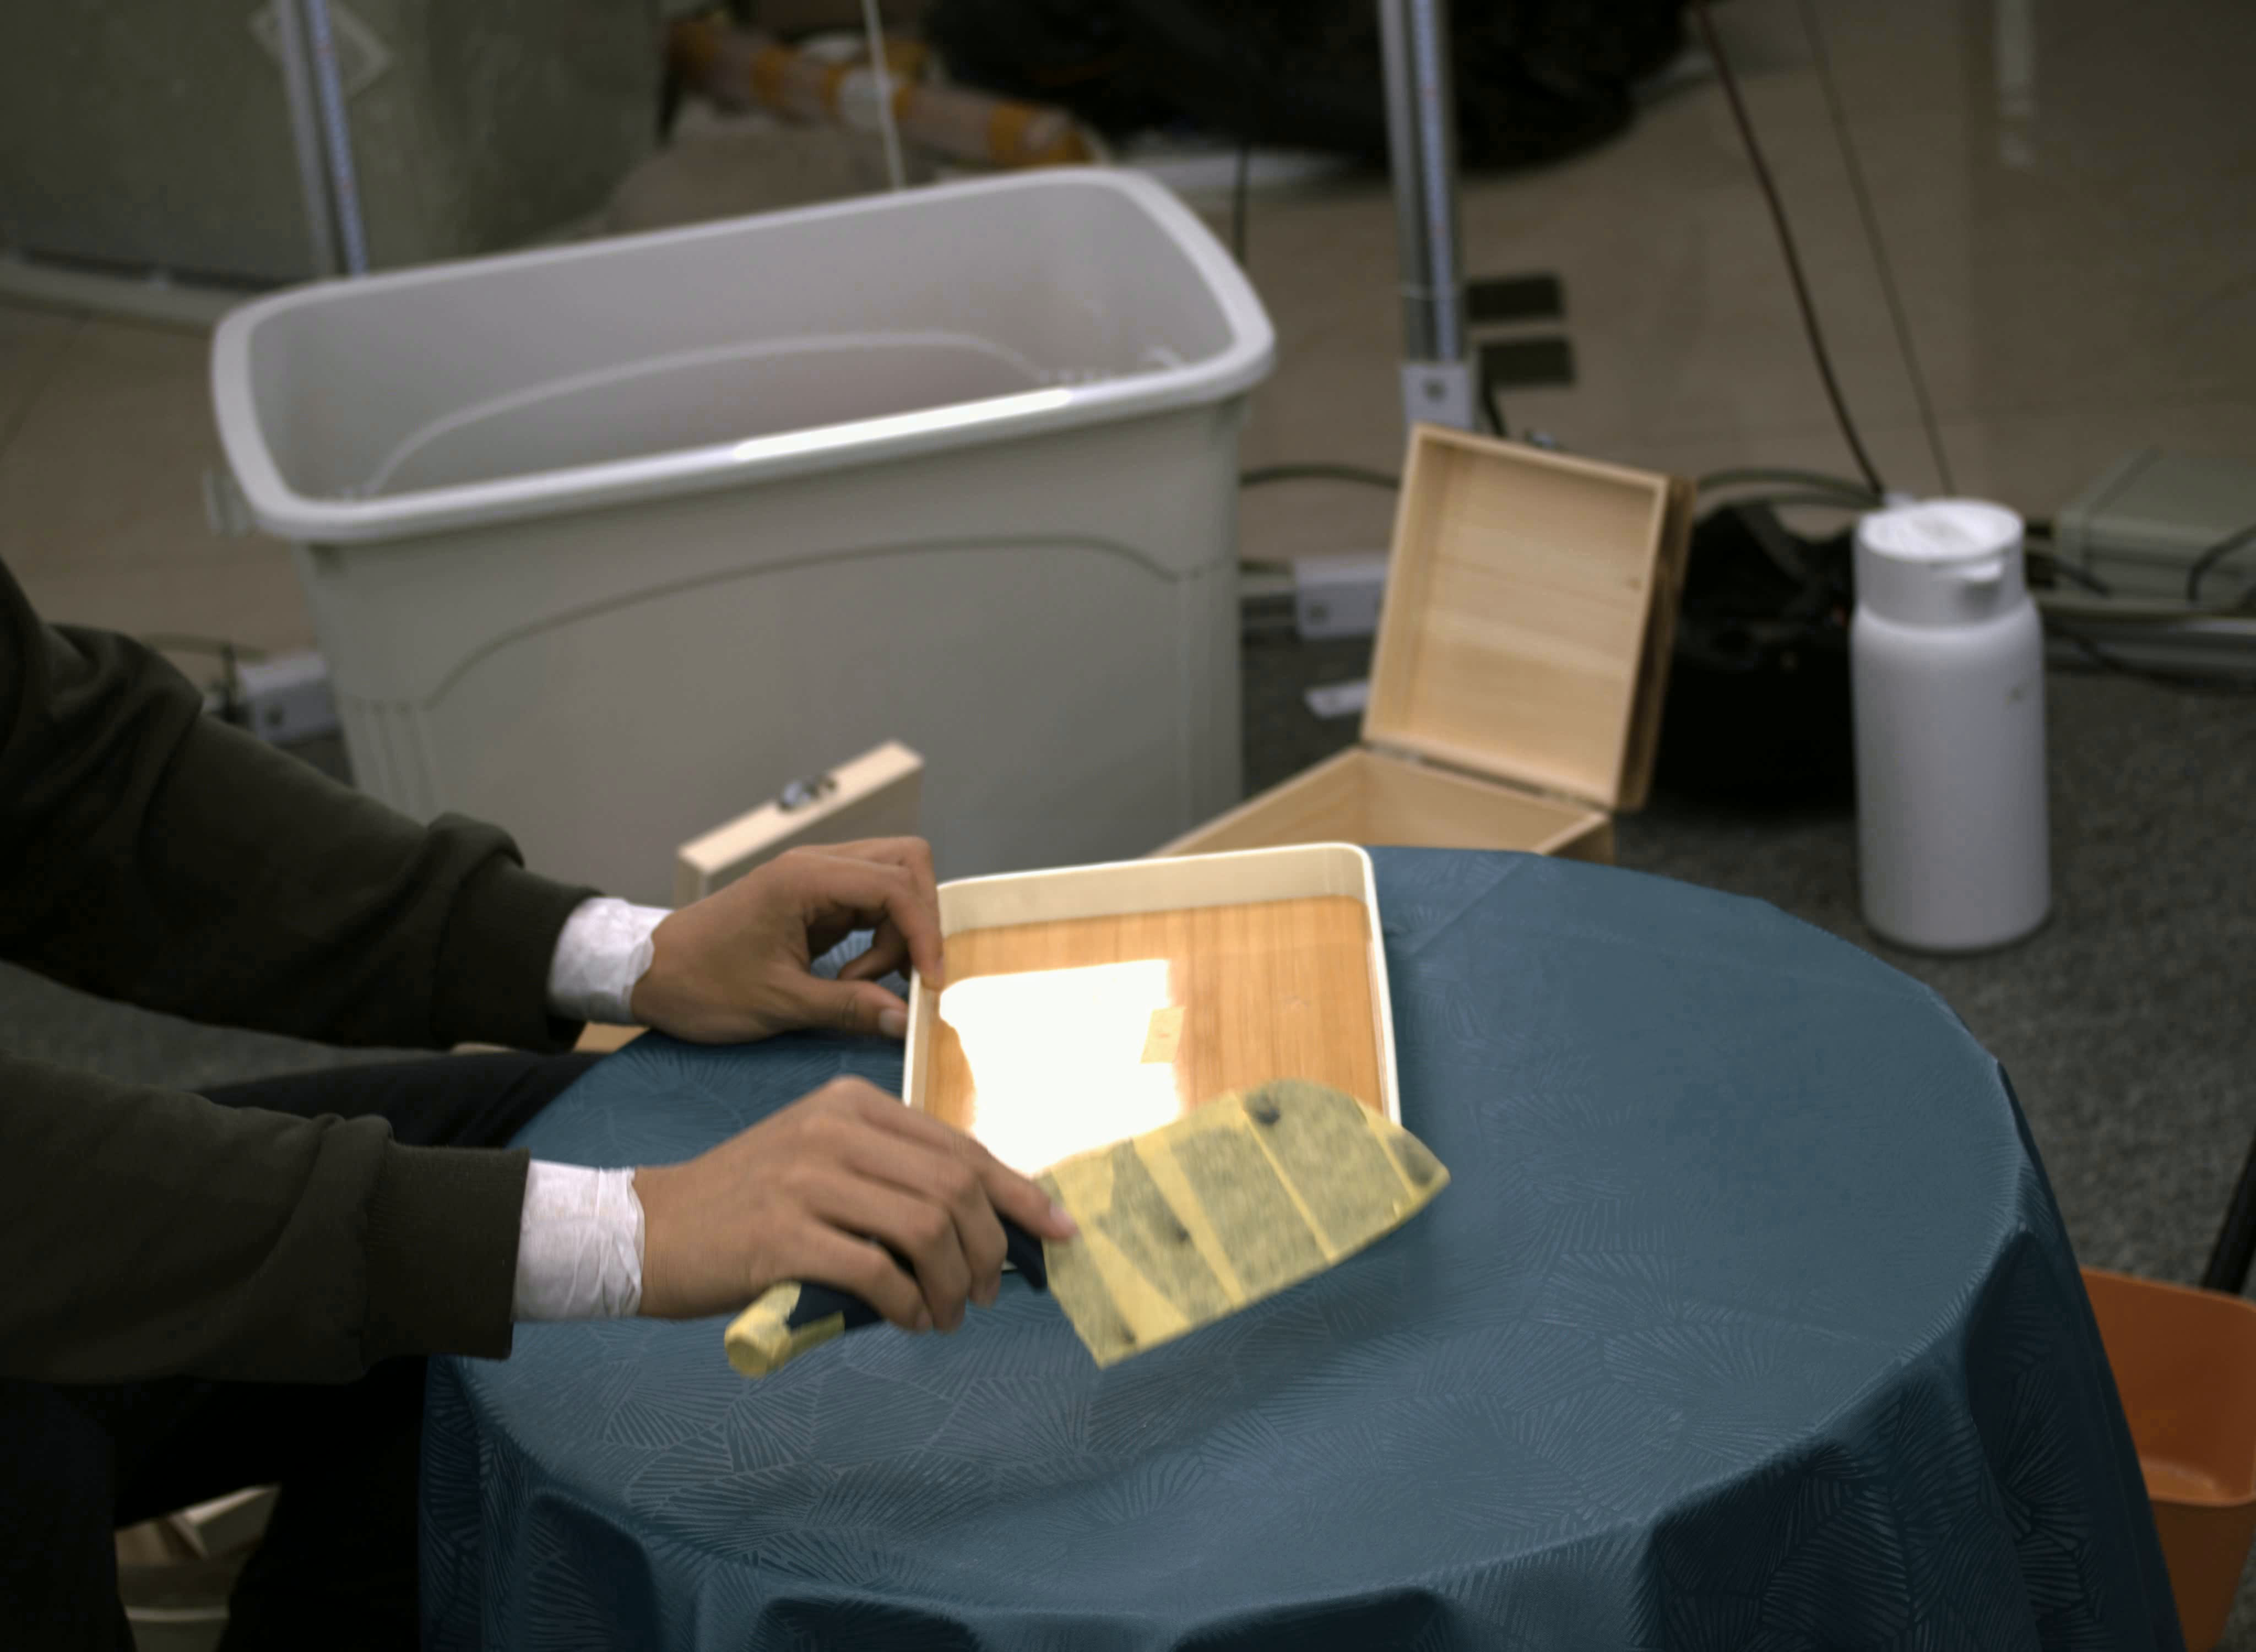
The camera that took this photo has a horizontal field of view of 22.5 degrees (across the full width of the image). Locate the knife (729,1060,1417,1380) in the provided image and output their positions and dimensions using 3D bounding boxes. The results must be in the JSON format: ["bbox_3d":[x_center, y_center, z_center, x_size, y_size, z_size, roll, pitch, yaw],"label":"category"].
[{"bbox_3d":[-0.012,0.145,1.976,0.288,0.027,0.080,-19,69,-32],"label":"knife"}]

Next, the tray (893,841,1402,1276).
[{"bbox_3d":[0.007,0.087,2.229,0.191,0.028,0.296,-6,24,3],"label":"tray"}]
